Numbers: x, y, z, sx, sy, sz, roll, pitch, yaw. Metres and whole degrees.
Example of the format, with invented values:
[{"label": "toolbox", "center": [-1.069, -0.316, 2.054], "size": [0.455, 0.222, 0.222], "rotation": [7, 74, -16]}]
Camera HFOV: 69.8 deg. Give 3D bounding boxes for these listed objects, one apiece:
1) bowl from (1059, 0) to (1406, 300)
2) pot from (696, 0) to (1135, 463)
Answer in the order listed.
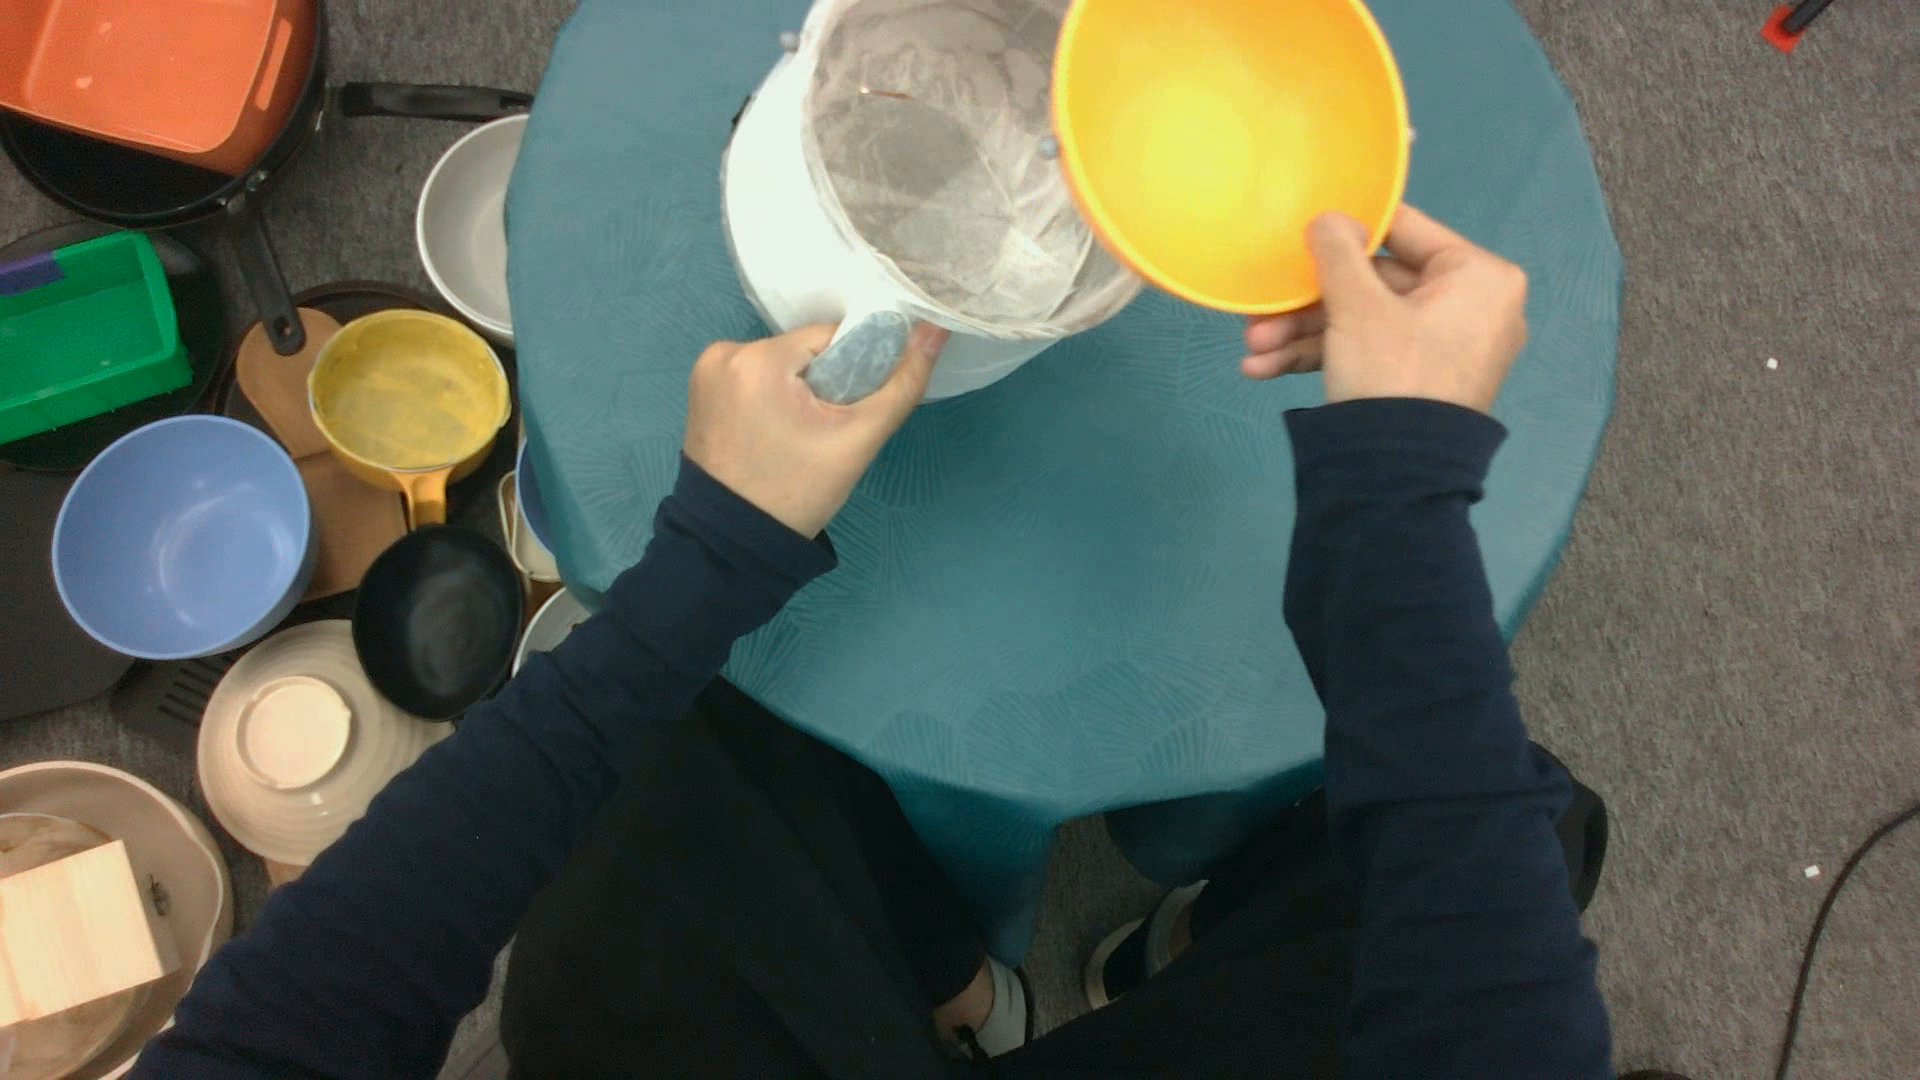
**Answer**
[{"label": "bowl", "center": [0.096, -0.159, 0.535], "size": [0.145, 0.060, 0.145], "rotation": [1, 88, -21]}, {"label": "pot", "center": [-0.033, -0.141, 0.611], "size": [0.178, 0.136, 0.234], "rotation": [32, 71, -18]}]
